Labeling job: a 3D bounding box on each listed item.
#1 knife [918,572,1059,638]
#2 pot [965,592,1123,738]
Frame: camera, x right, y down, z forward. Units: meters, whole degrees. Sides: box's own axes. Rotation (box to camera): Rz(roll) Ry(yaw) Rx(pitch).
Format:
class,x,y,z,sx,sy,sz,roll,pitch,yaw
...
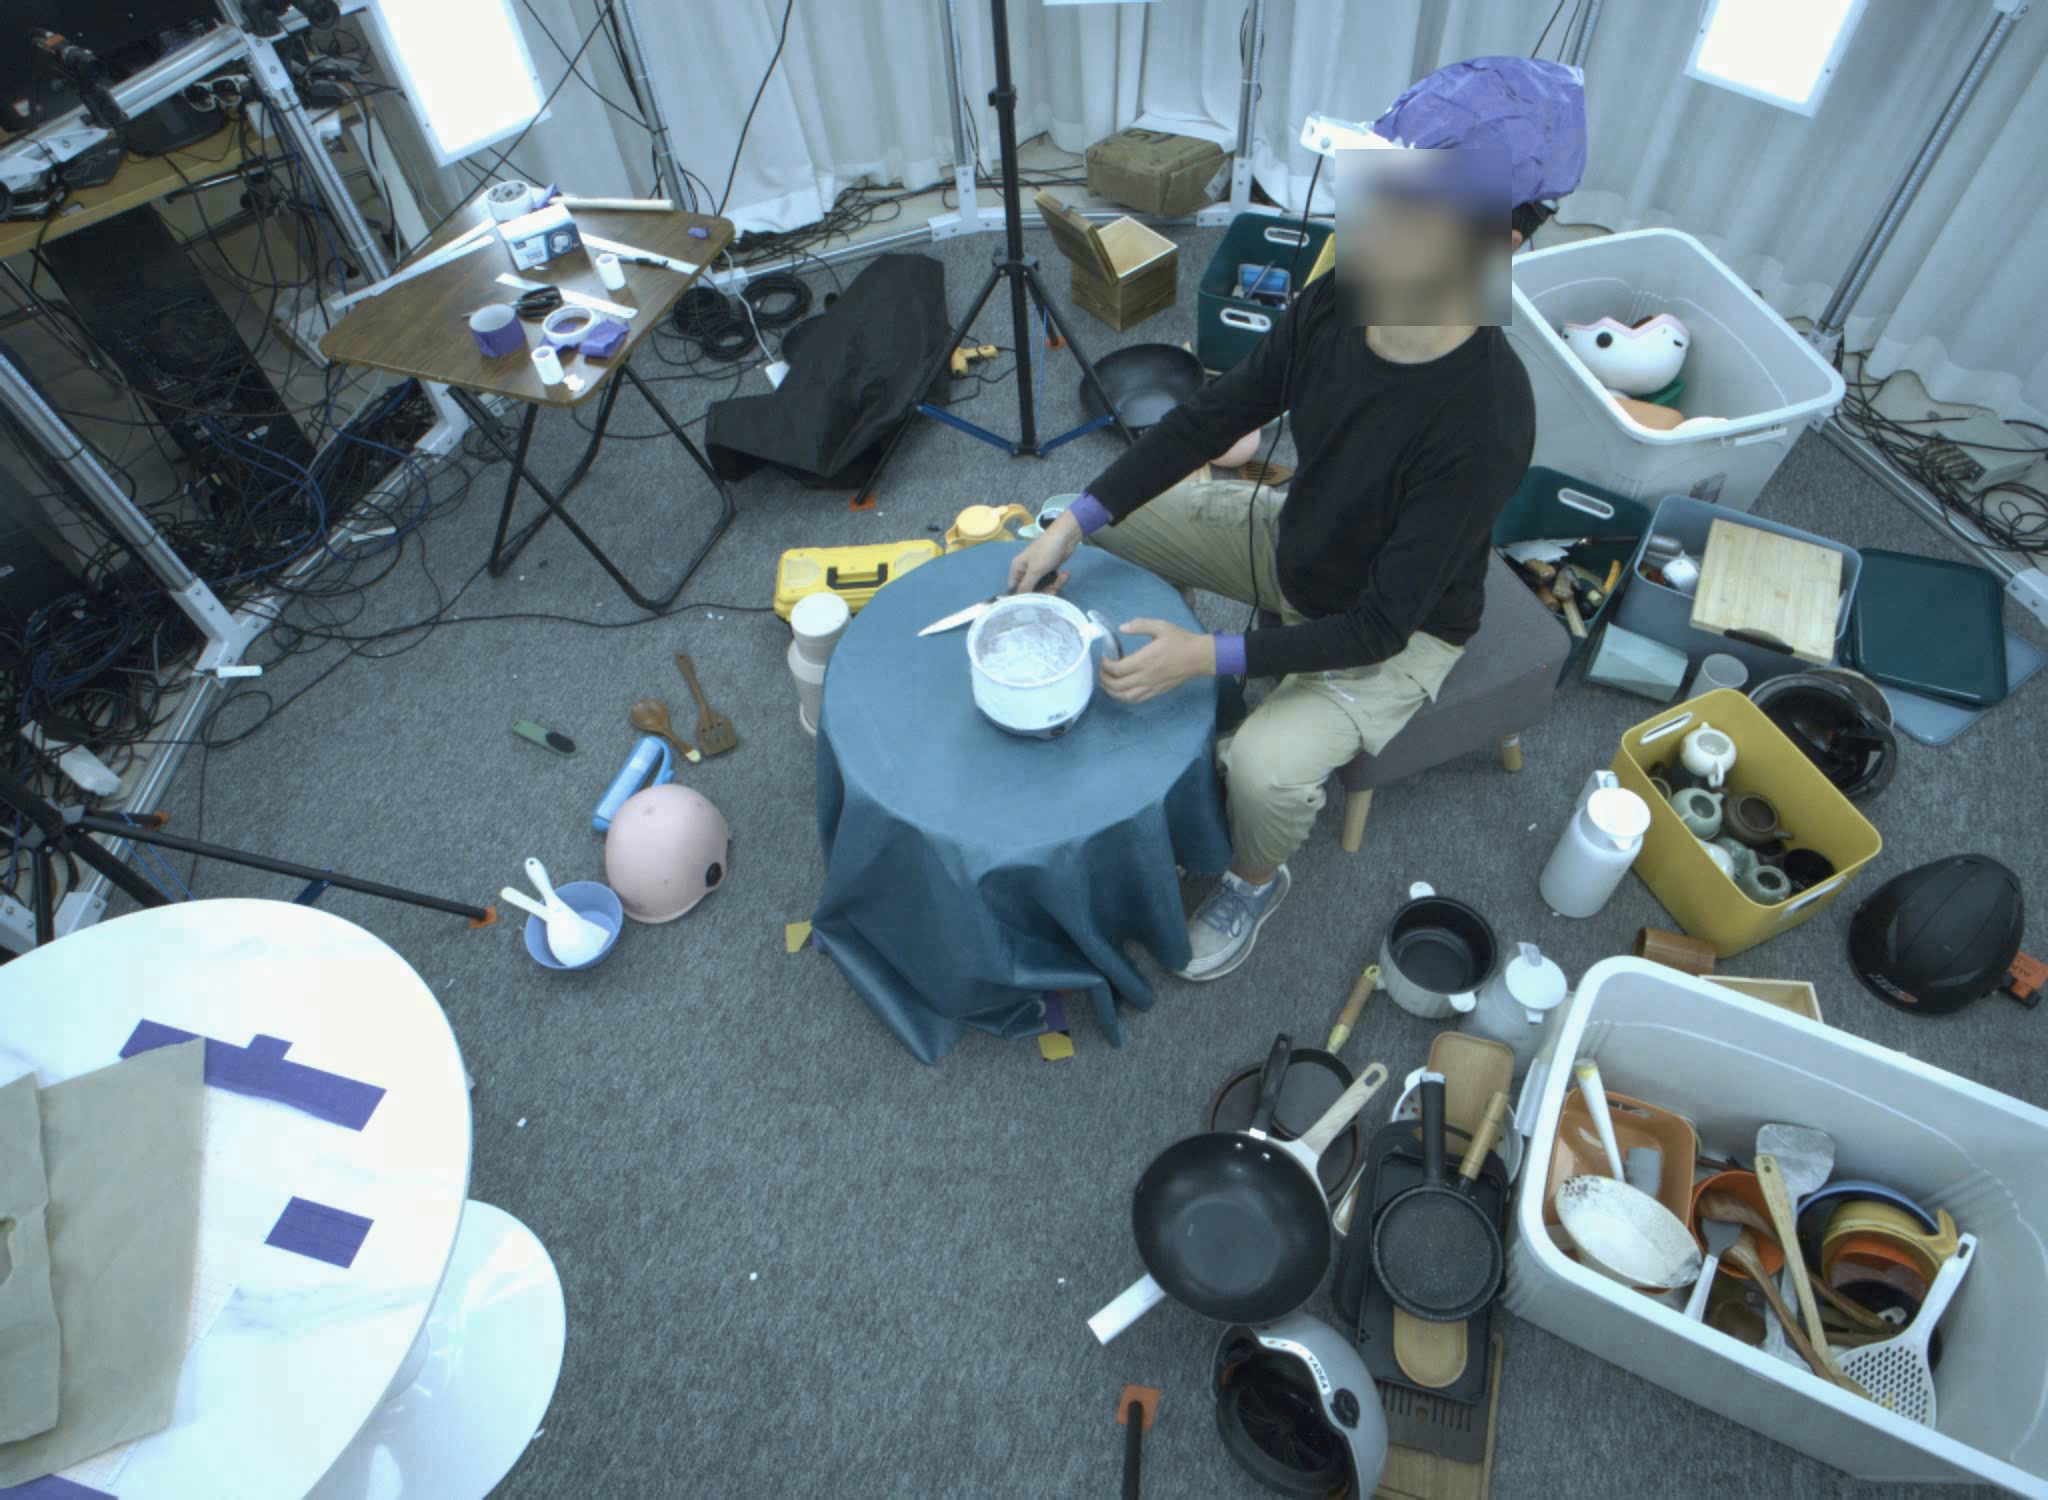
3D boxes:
class,x,y,z,sx,sy,sz,roll,pitch,yaw
knife,-0.059,-0.227,1.921,0.238,0.016,0.024,-24,76,-2
pot,0.034,-0.132,1.789,0.235,0.138,0.175,-23,58,-12
